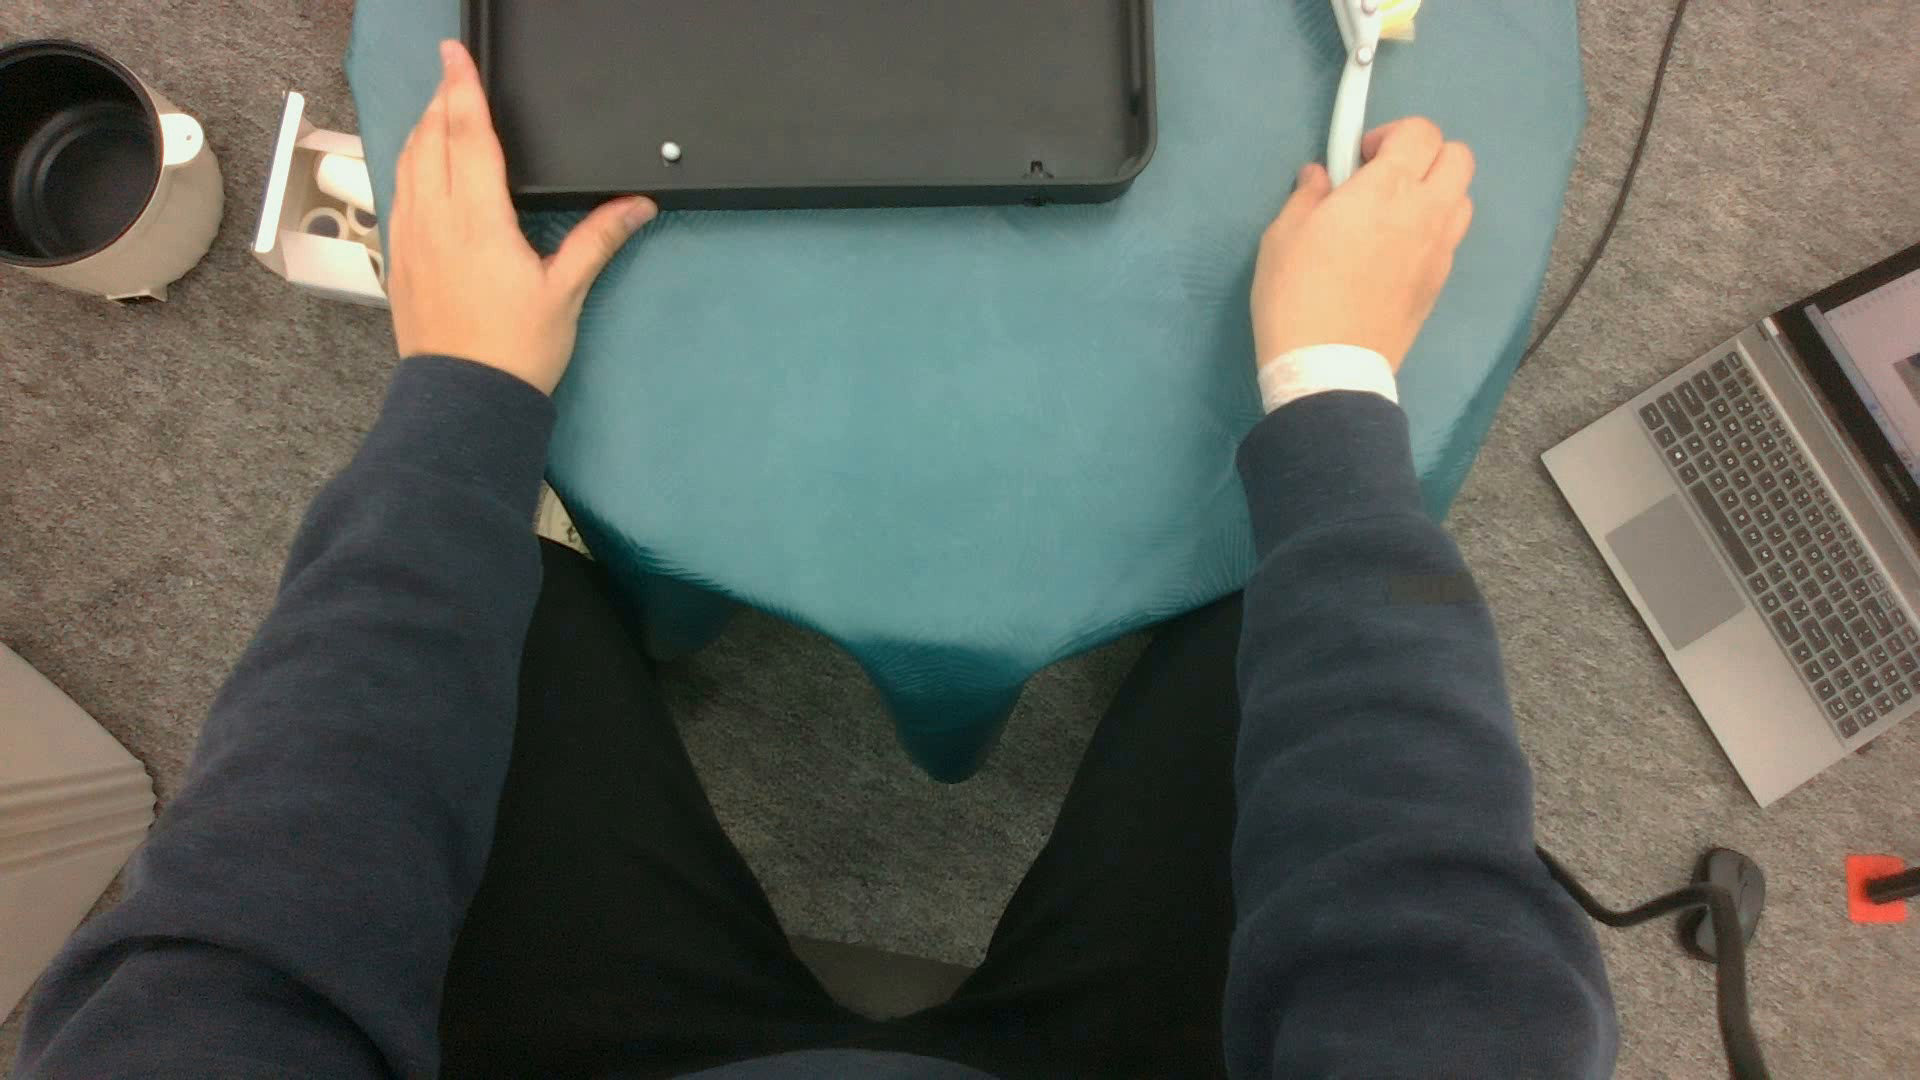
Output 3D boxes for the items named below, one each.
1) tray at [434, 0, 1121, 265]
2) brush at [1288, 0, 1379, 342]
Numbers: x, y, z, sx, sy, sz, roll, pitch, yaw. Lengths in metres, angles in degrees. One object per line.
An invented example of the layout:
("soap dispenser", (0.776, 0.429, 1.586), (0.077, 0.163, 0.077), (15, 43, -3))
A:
("tray", (-0.089, -0.239, 0.671), (0.318, 0.037, 0.184), (-6, 85, -2))
("brush", (0.185, -0.211, 0.675), (0.049, 0.038, 0.229), (-7, 85, 6))
